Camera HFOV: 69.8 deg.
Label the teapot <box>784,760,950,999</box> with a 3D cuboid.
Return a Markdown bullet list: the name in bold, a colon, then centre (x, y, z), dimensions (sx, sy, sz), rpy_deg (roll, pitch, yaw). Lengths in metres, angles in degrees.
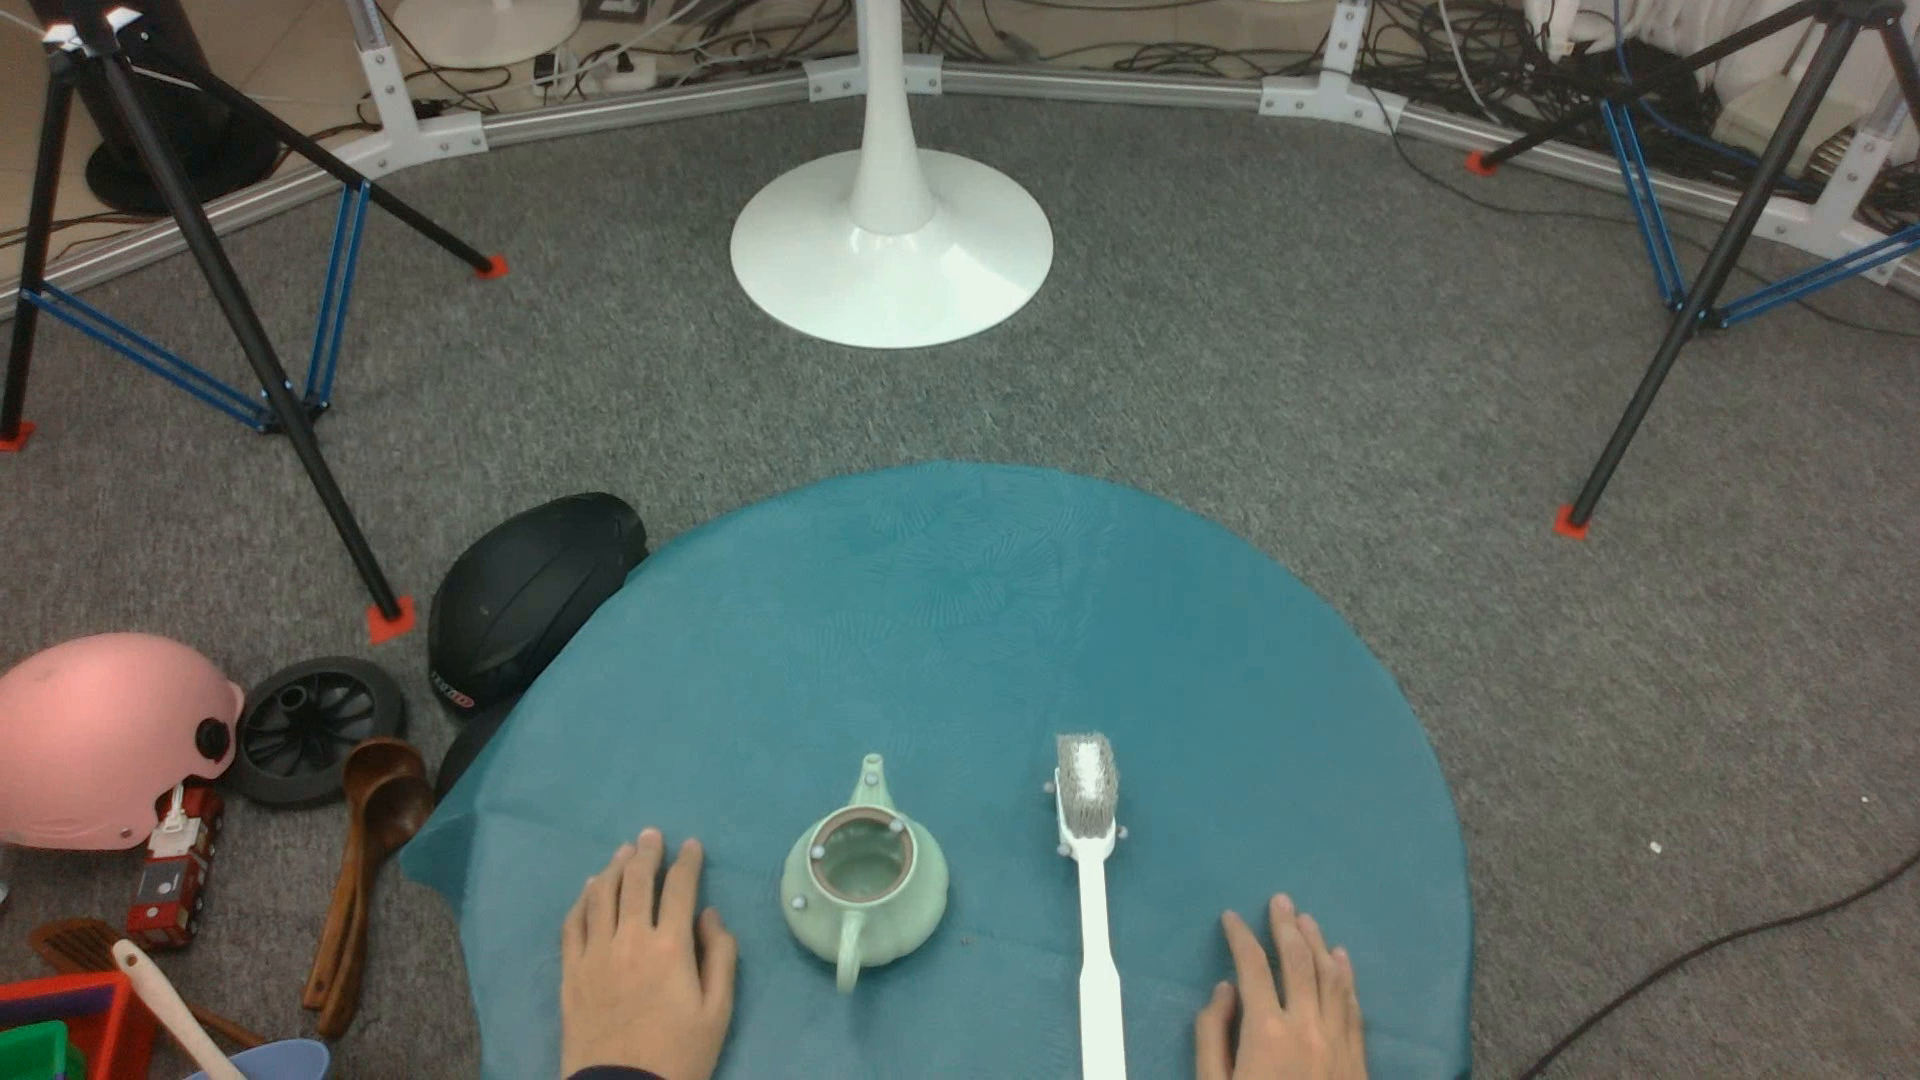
- **teapot**: centre (-0.054, 0.200, 0.791), dimensions (0.096, 0.061, 0.137), rpy_deg (3, 49, -1)

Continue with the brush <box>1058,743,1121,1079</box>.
- **brush**: centre (0.074, 0.224, 0.781), dimensions (0.034, 0.050, 0.245), rpy_deg (5, 49, -2)
